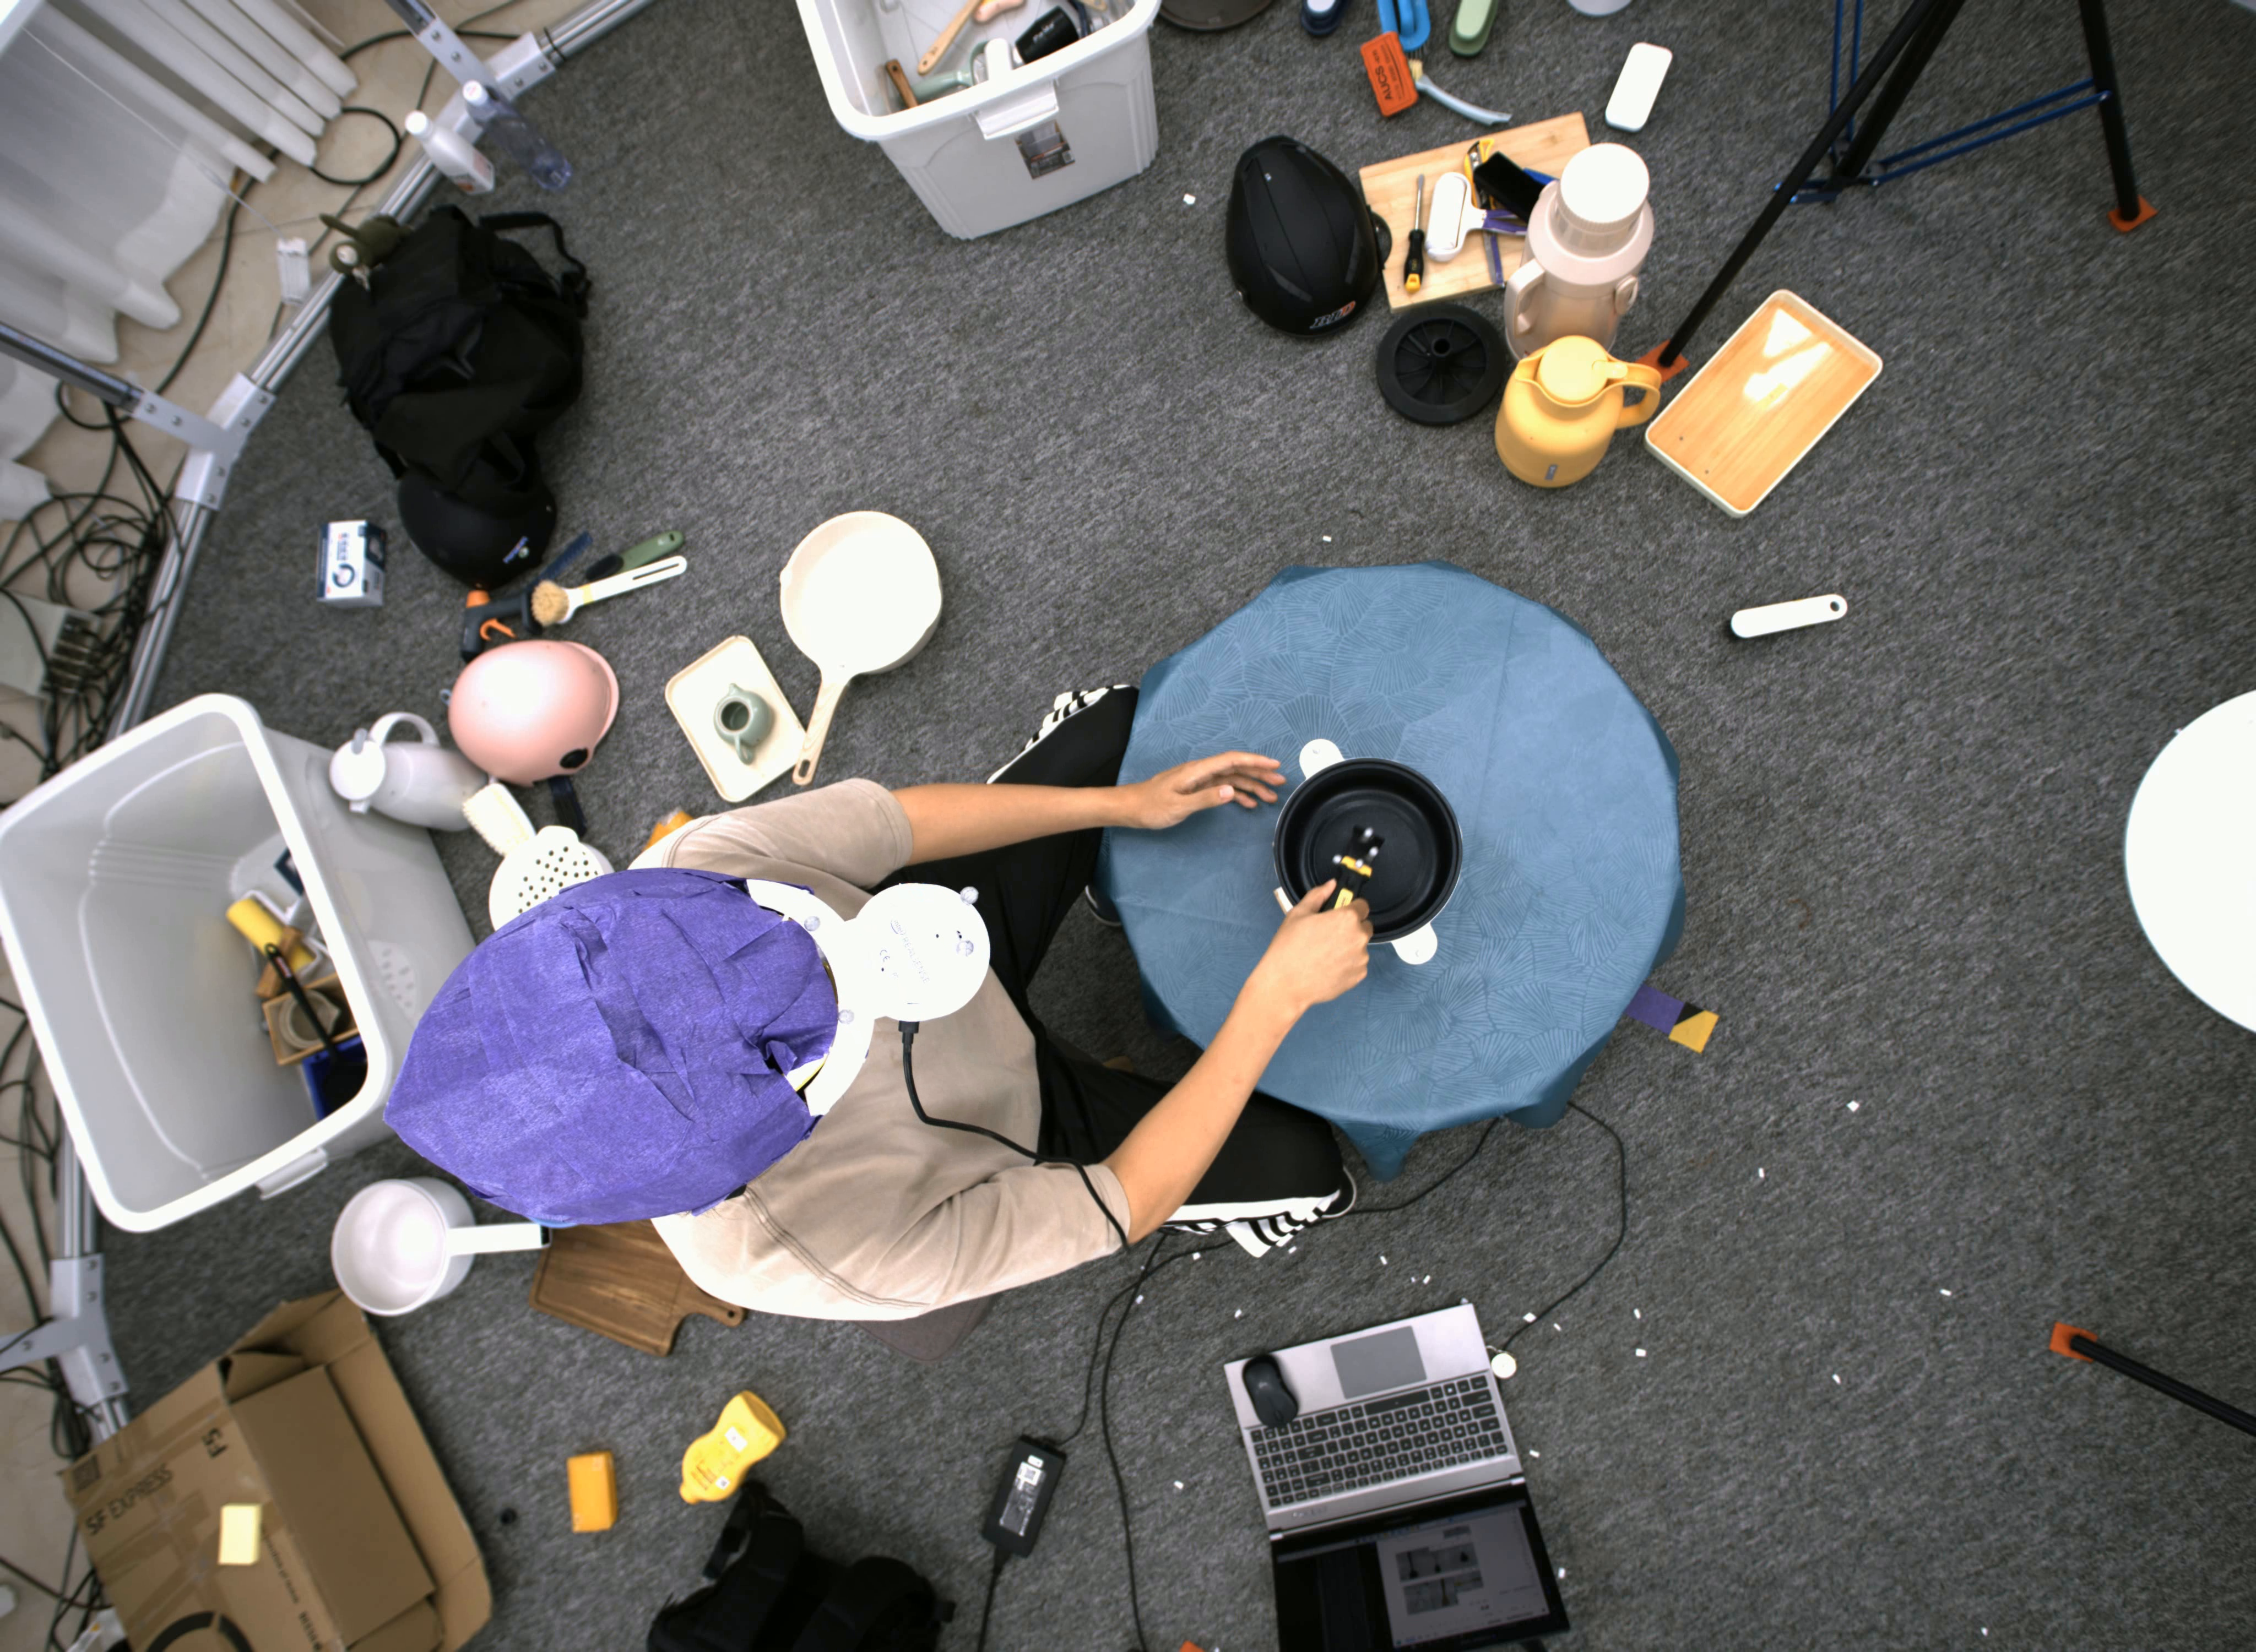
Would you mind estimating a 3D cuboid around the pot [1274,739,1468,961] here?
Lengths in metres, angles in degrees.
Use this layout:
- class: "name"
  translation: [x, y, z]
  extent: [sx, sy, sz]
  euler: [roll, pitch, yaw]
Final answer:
- class: "pot"
  translation: [0.238, 0.032, 1.399]
  extent: [0.191, 0.143, 0.238]
  euler: [-27, 81, 3]

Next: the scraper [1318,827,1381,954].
- class: "scraper"
  translation: [0.212, 0.061, 1.327]
  extent: [0.039, 0.166, 0.015]
  euler: [28, 135, -1]
